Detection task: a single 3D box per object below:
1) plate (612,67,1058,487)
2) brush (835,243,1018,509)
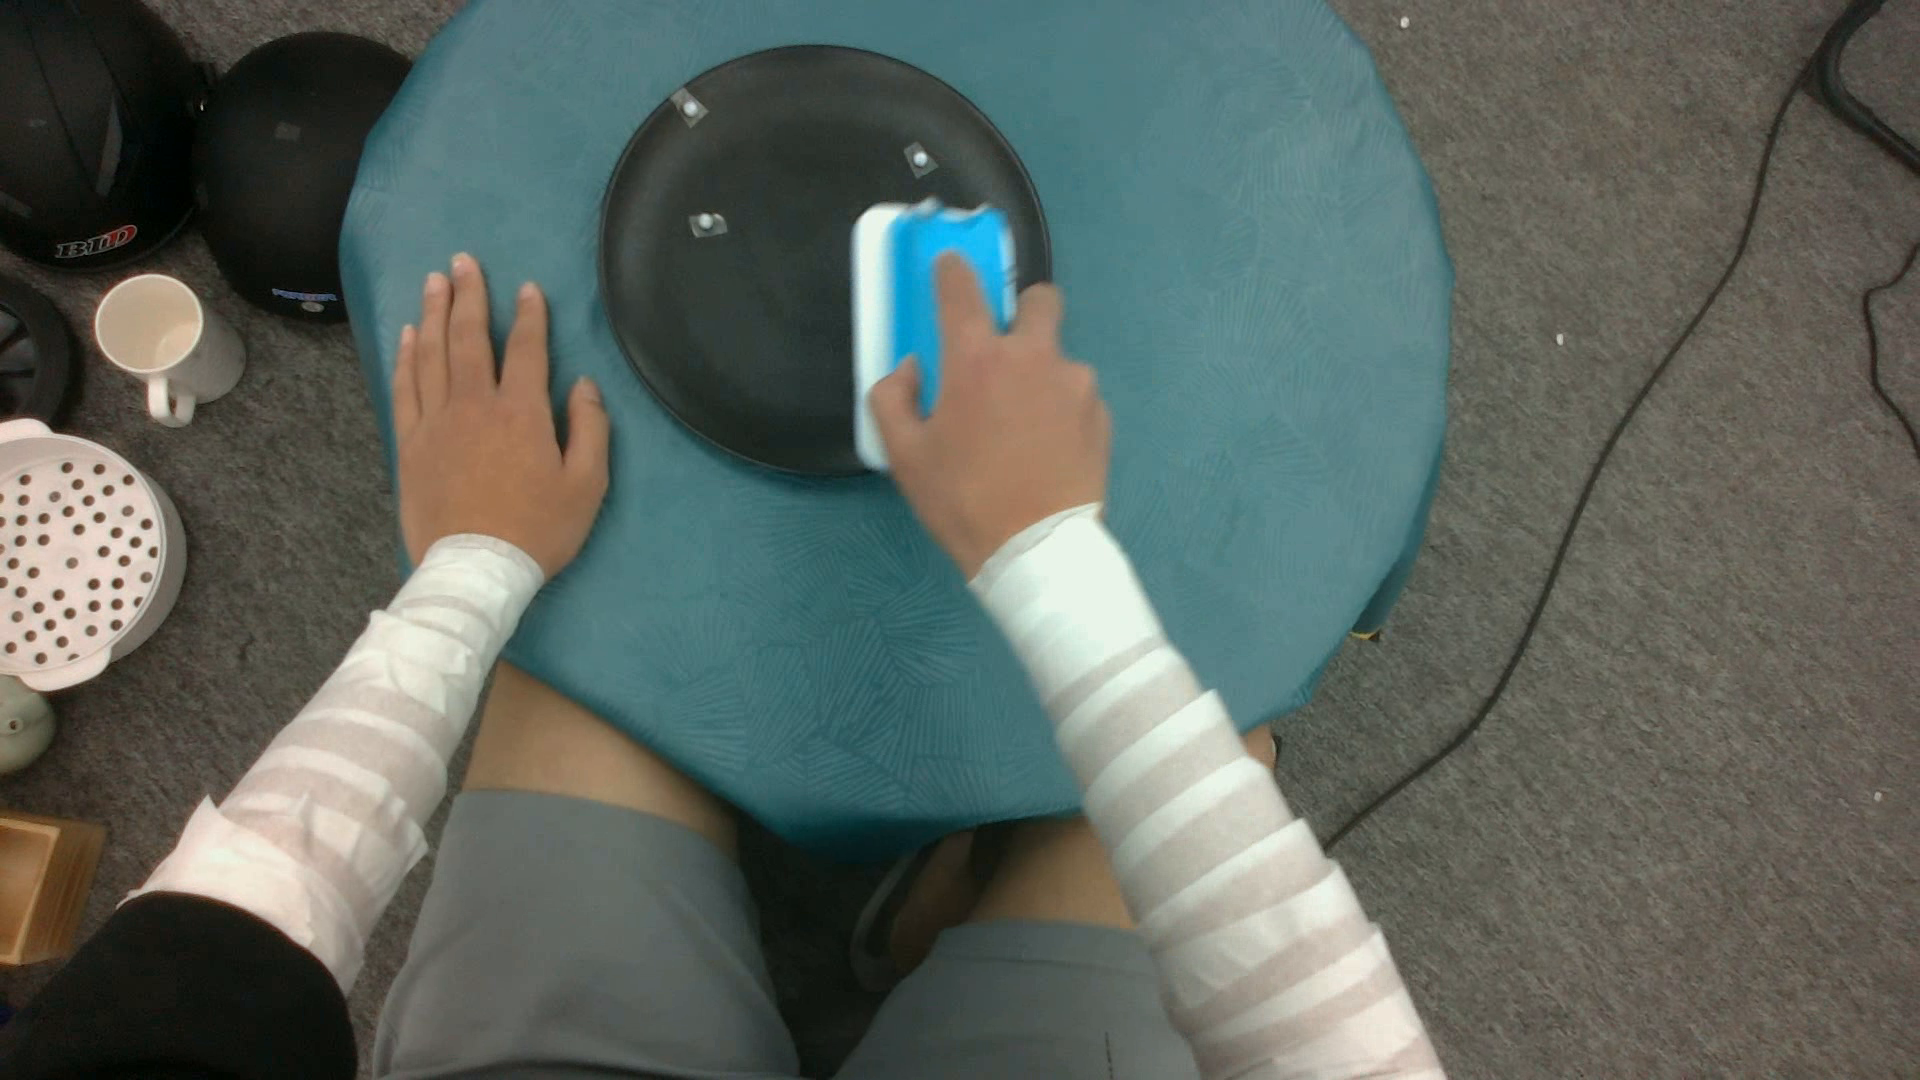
[{"bbox_3d":[-0.067,-0.147,0.763,0.244,0.023,0.245,1,78,-7],"label":"plate"},{"bbox_3d":[-0.017,-0.087,0.672,0.084,0.055,0.144,-3,65,-11],"label":"brush"}]
